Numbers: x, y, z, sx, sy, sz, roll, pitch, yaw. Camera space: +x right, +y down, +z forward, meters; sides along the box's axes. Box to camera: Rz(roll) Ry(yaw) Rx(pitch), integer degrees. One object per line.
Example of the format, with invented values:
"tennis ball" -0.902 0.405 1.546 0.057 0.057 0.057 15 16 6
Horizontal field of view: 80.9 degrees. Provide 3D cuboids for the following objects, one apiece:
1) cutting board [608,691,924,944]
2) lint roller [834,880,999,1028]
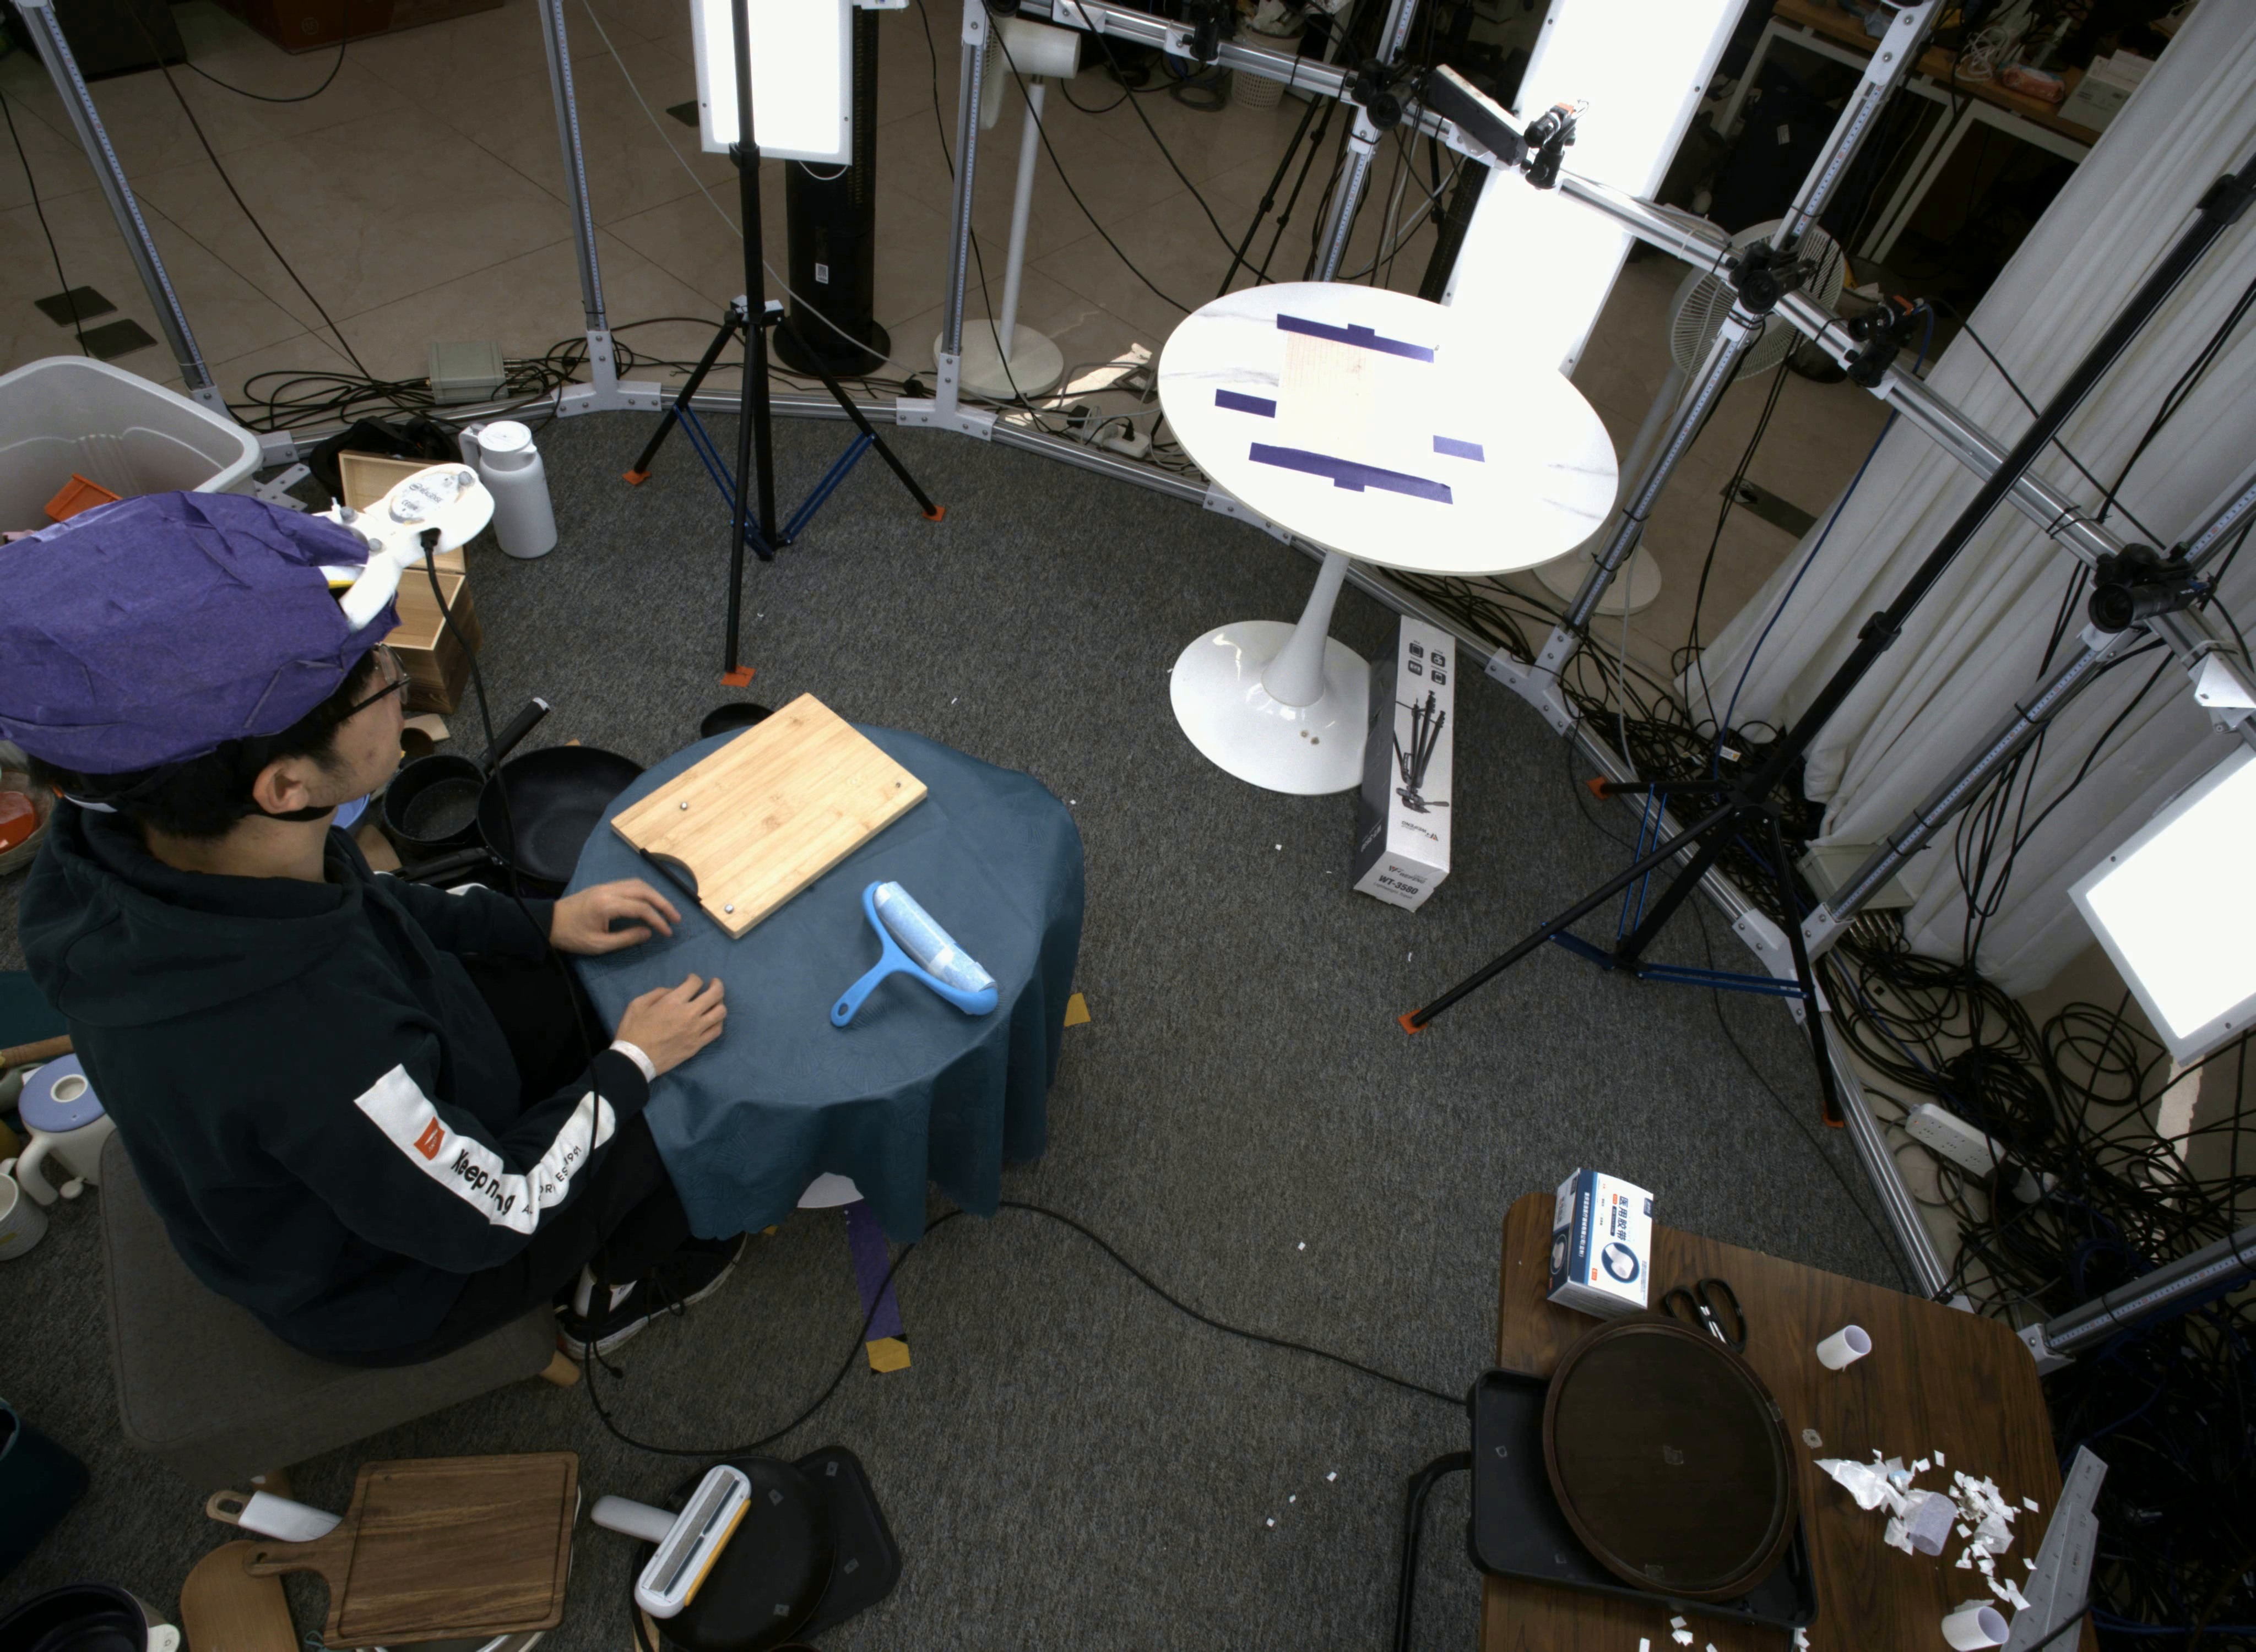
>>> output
"cutting board" -0.475 -0.022 1.723 0.246 0.024 0.348 37 54 13
"lint roller" -0.285 0.177 1.599 0.224 0.069 0.180 41 54 14
